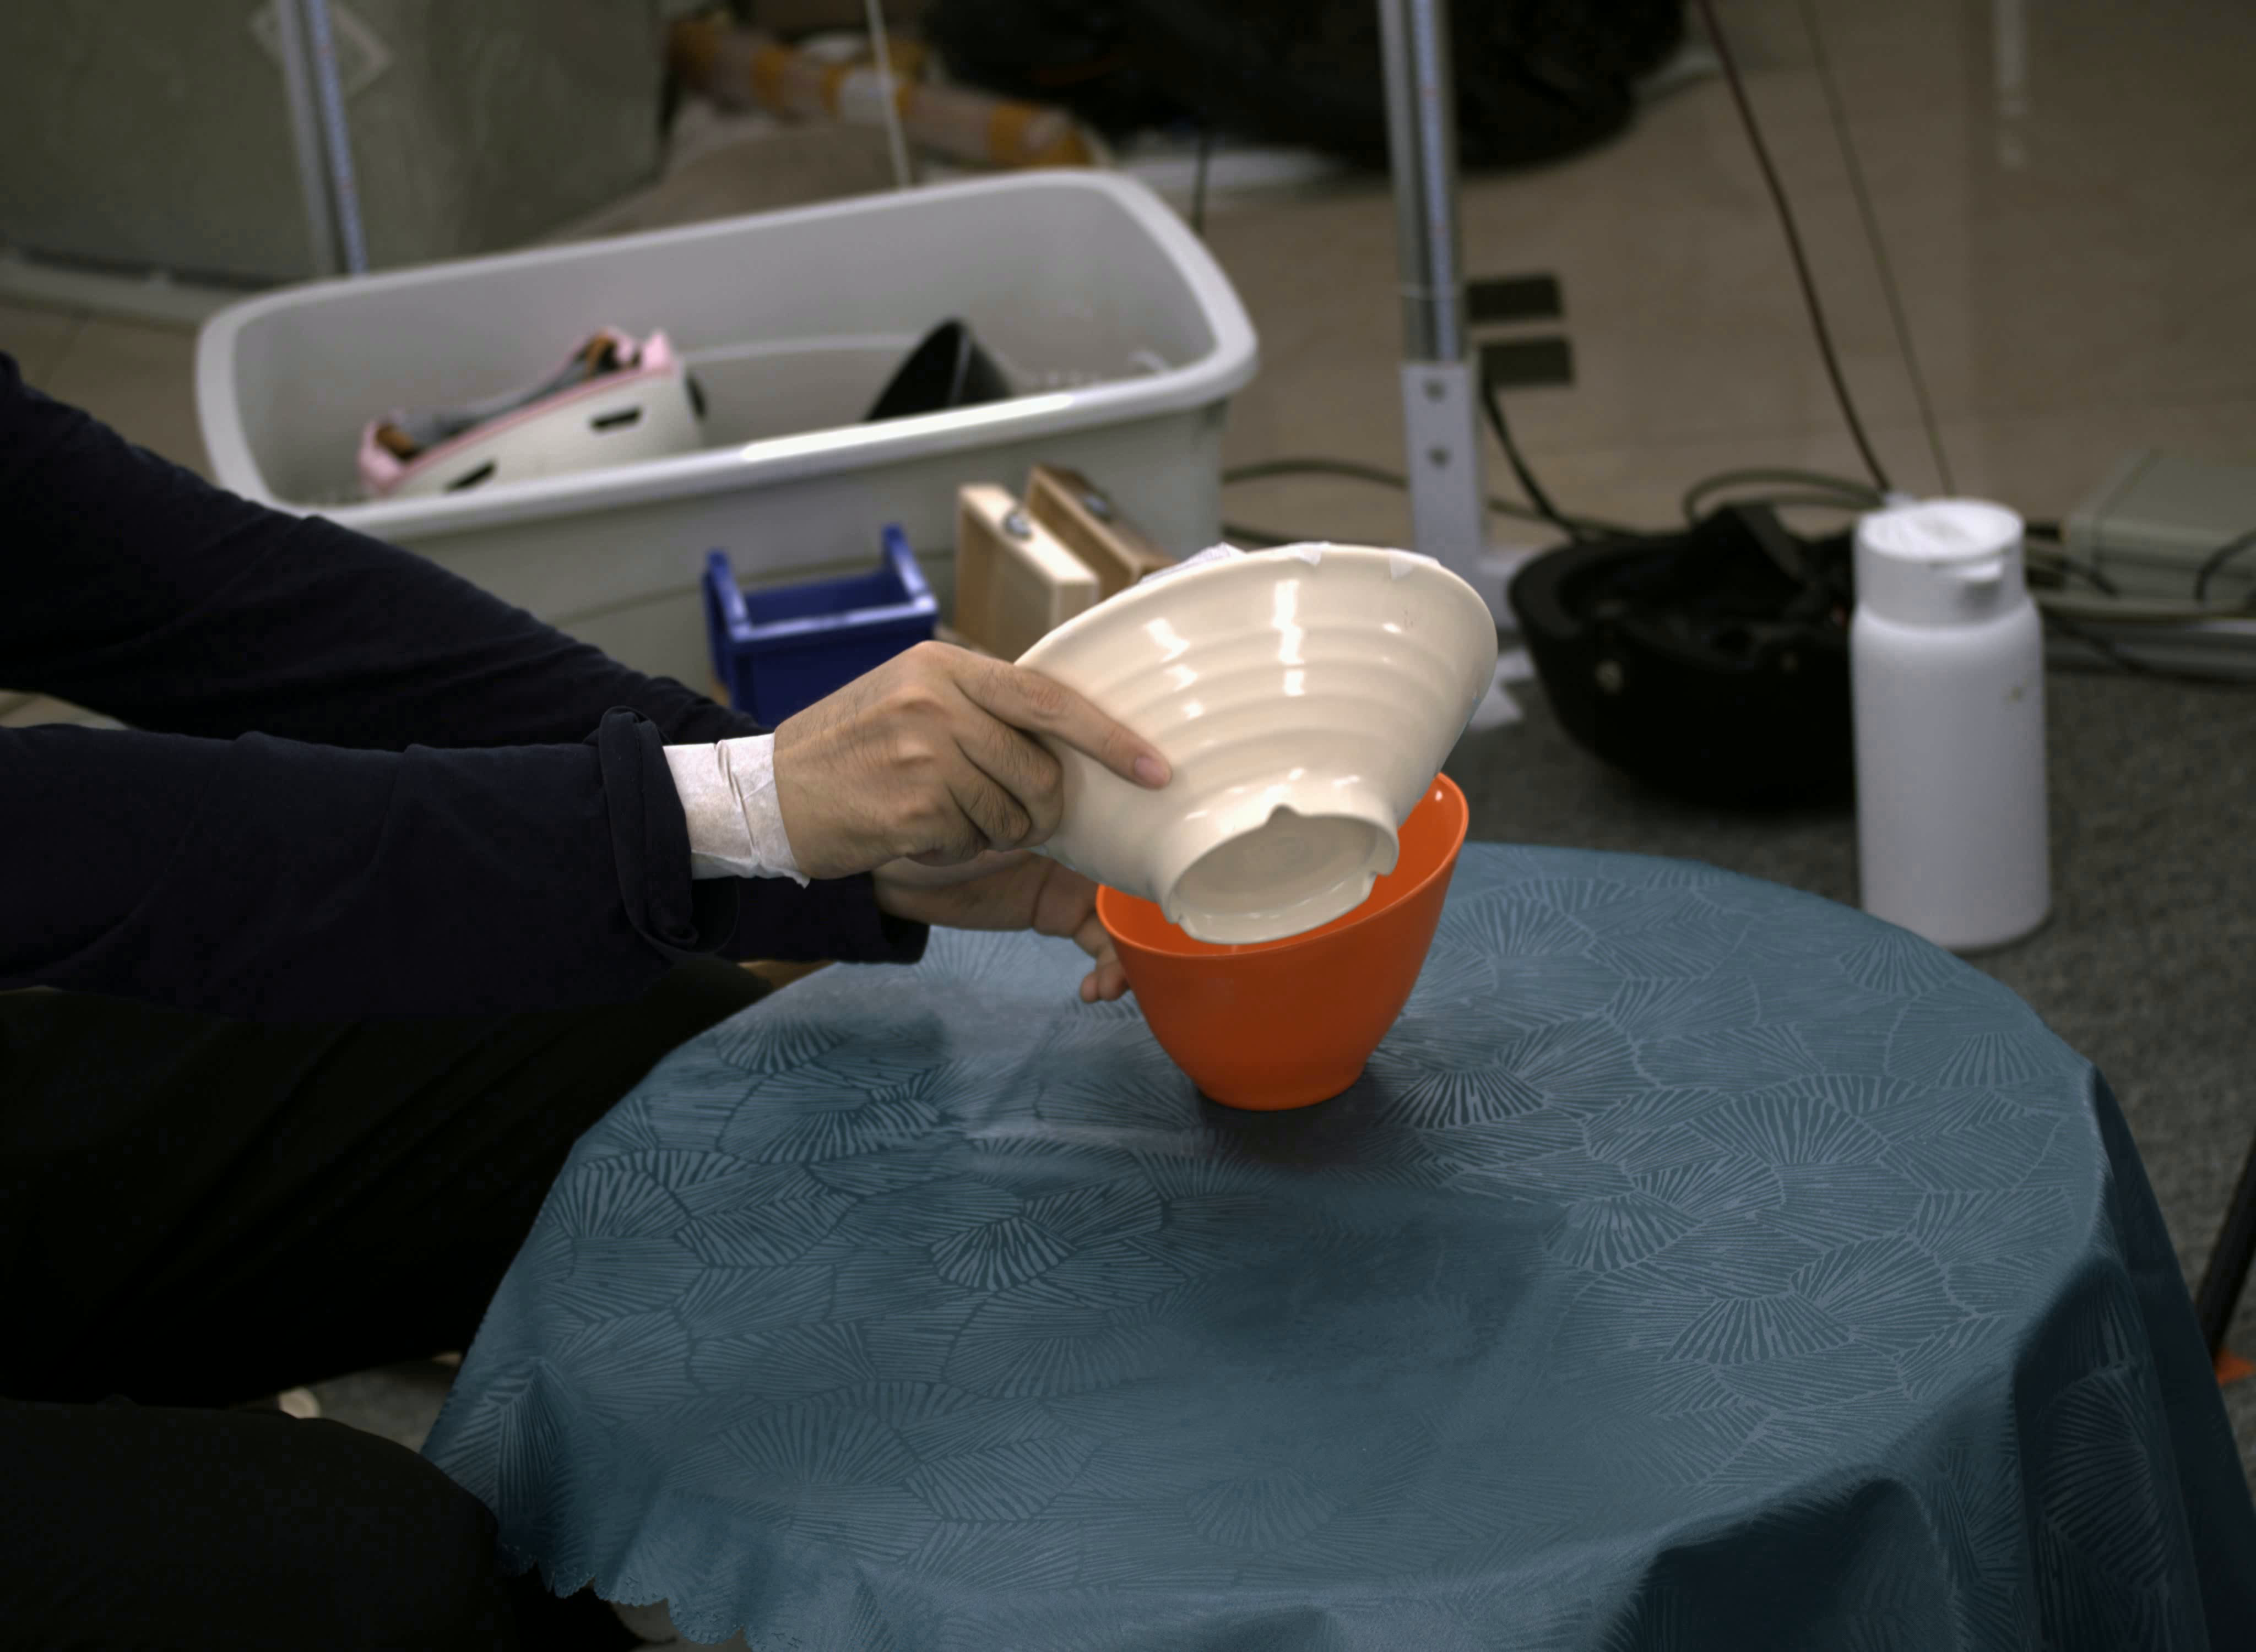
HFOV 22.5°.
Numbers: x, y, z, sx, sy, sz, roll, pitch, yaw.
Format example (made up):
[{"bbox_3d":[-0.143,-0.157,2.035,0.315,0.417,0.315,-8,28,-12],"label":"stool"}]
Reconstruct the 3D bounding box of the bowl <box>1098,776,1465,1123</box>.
[{"bbox_3d":[0.066,0.052,2.208,0.148,0.106,0.146,-9,25,4],"label":"bowl"}]

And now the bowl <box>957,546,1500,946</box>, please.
[{"bbox_3d":[0.045,-0.012,2.039,0.203,0.207,0.077,-11,61,-10],"label":"bowl"}]
